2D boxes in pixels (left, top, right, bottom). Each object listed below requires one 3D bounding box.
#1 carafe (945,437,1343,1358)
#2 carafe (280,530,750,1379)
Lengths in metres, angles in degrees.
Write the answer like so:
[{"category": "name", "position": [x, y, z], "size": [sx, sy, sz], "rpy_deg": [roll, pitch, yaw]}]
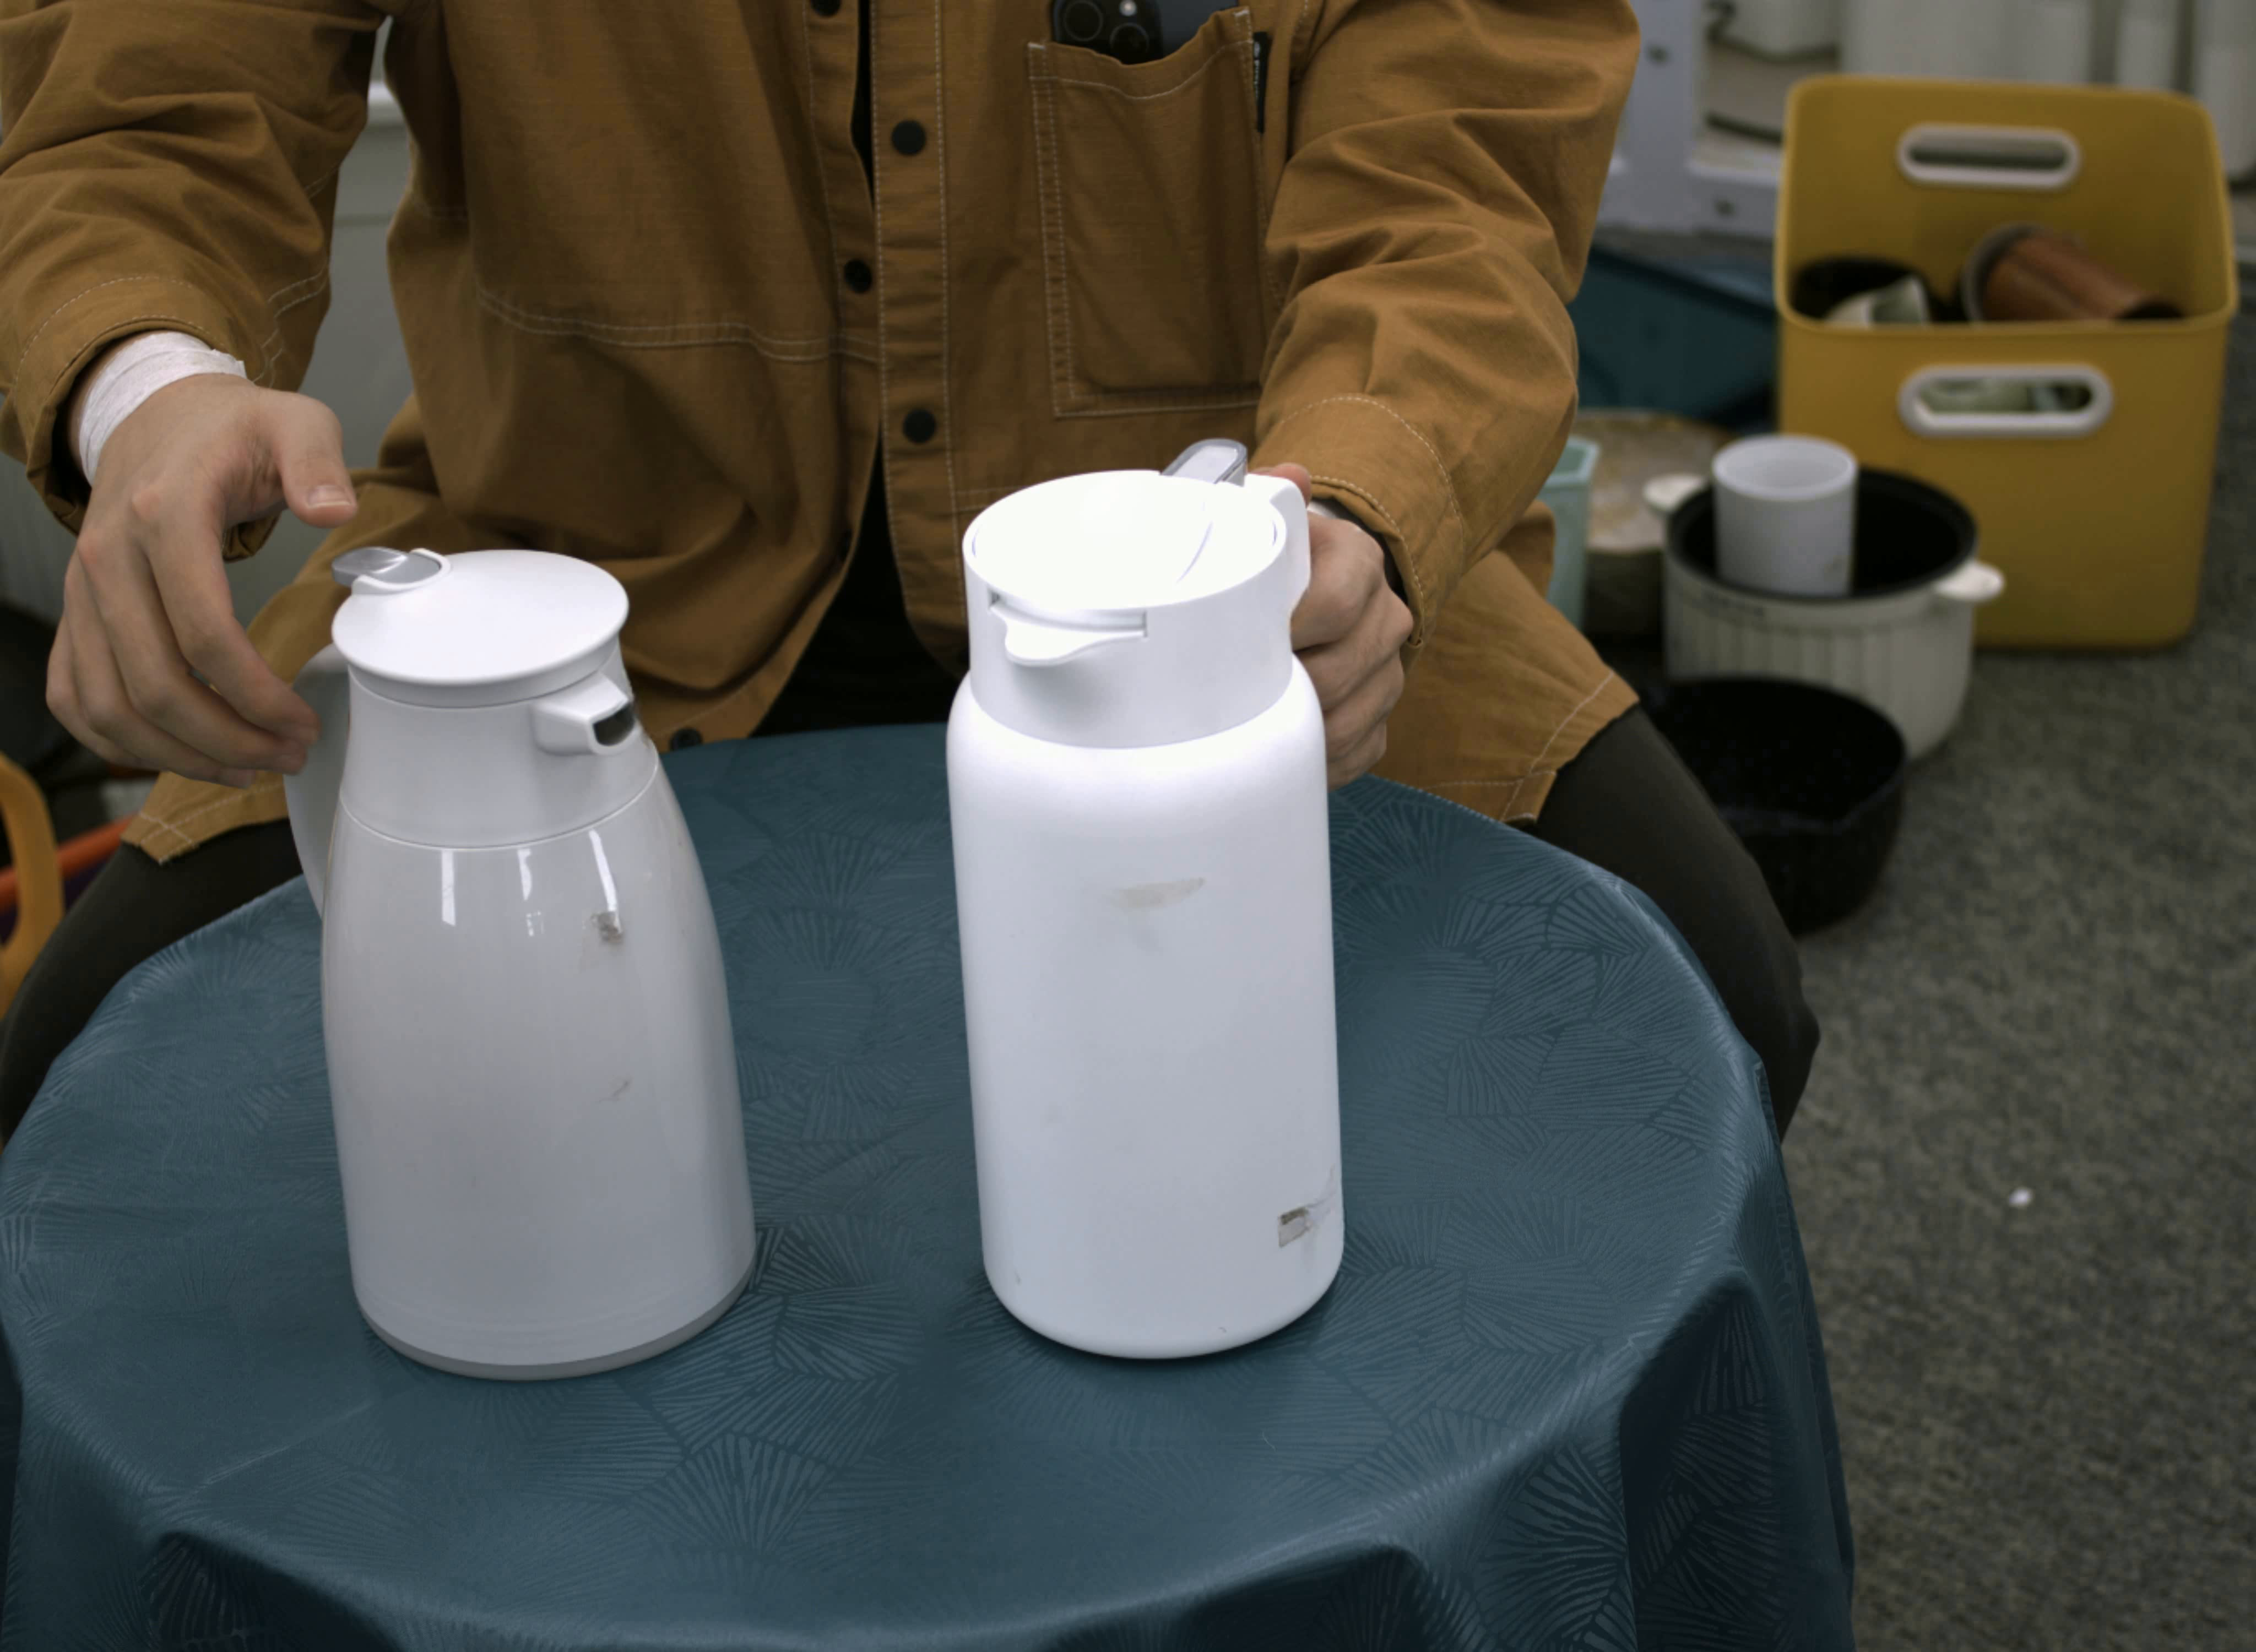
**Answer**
[{"category": "carafe", "position": [0.011, 0.019, 1.770], "size": [0.123, 0.266, 0.176], "rpy_deg": [7, 28, 24]}, {"category": "carafe", "position": [-0.208, 0.031, 1.788], "size": [0.167, 0.246, 0.134], "rpy_deg": [20, 34, 40]}]
